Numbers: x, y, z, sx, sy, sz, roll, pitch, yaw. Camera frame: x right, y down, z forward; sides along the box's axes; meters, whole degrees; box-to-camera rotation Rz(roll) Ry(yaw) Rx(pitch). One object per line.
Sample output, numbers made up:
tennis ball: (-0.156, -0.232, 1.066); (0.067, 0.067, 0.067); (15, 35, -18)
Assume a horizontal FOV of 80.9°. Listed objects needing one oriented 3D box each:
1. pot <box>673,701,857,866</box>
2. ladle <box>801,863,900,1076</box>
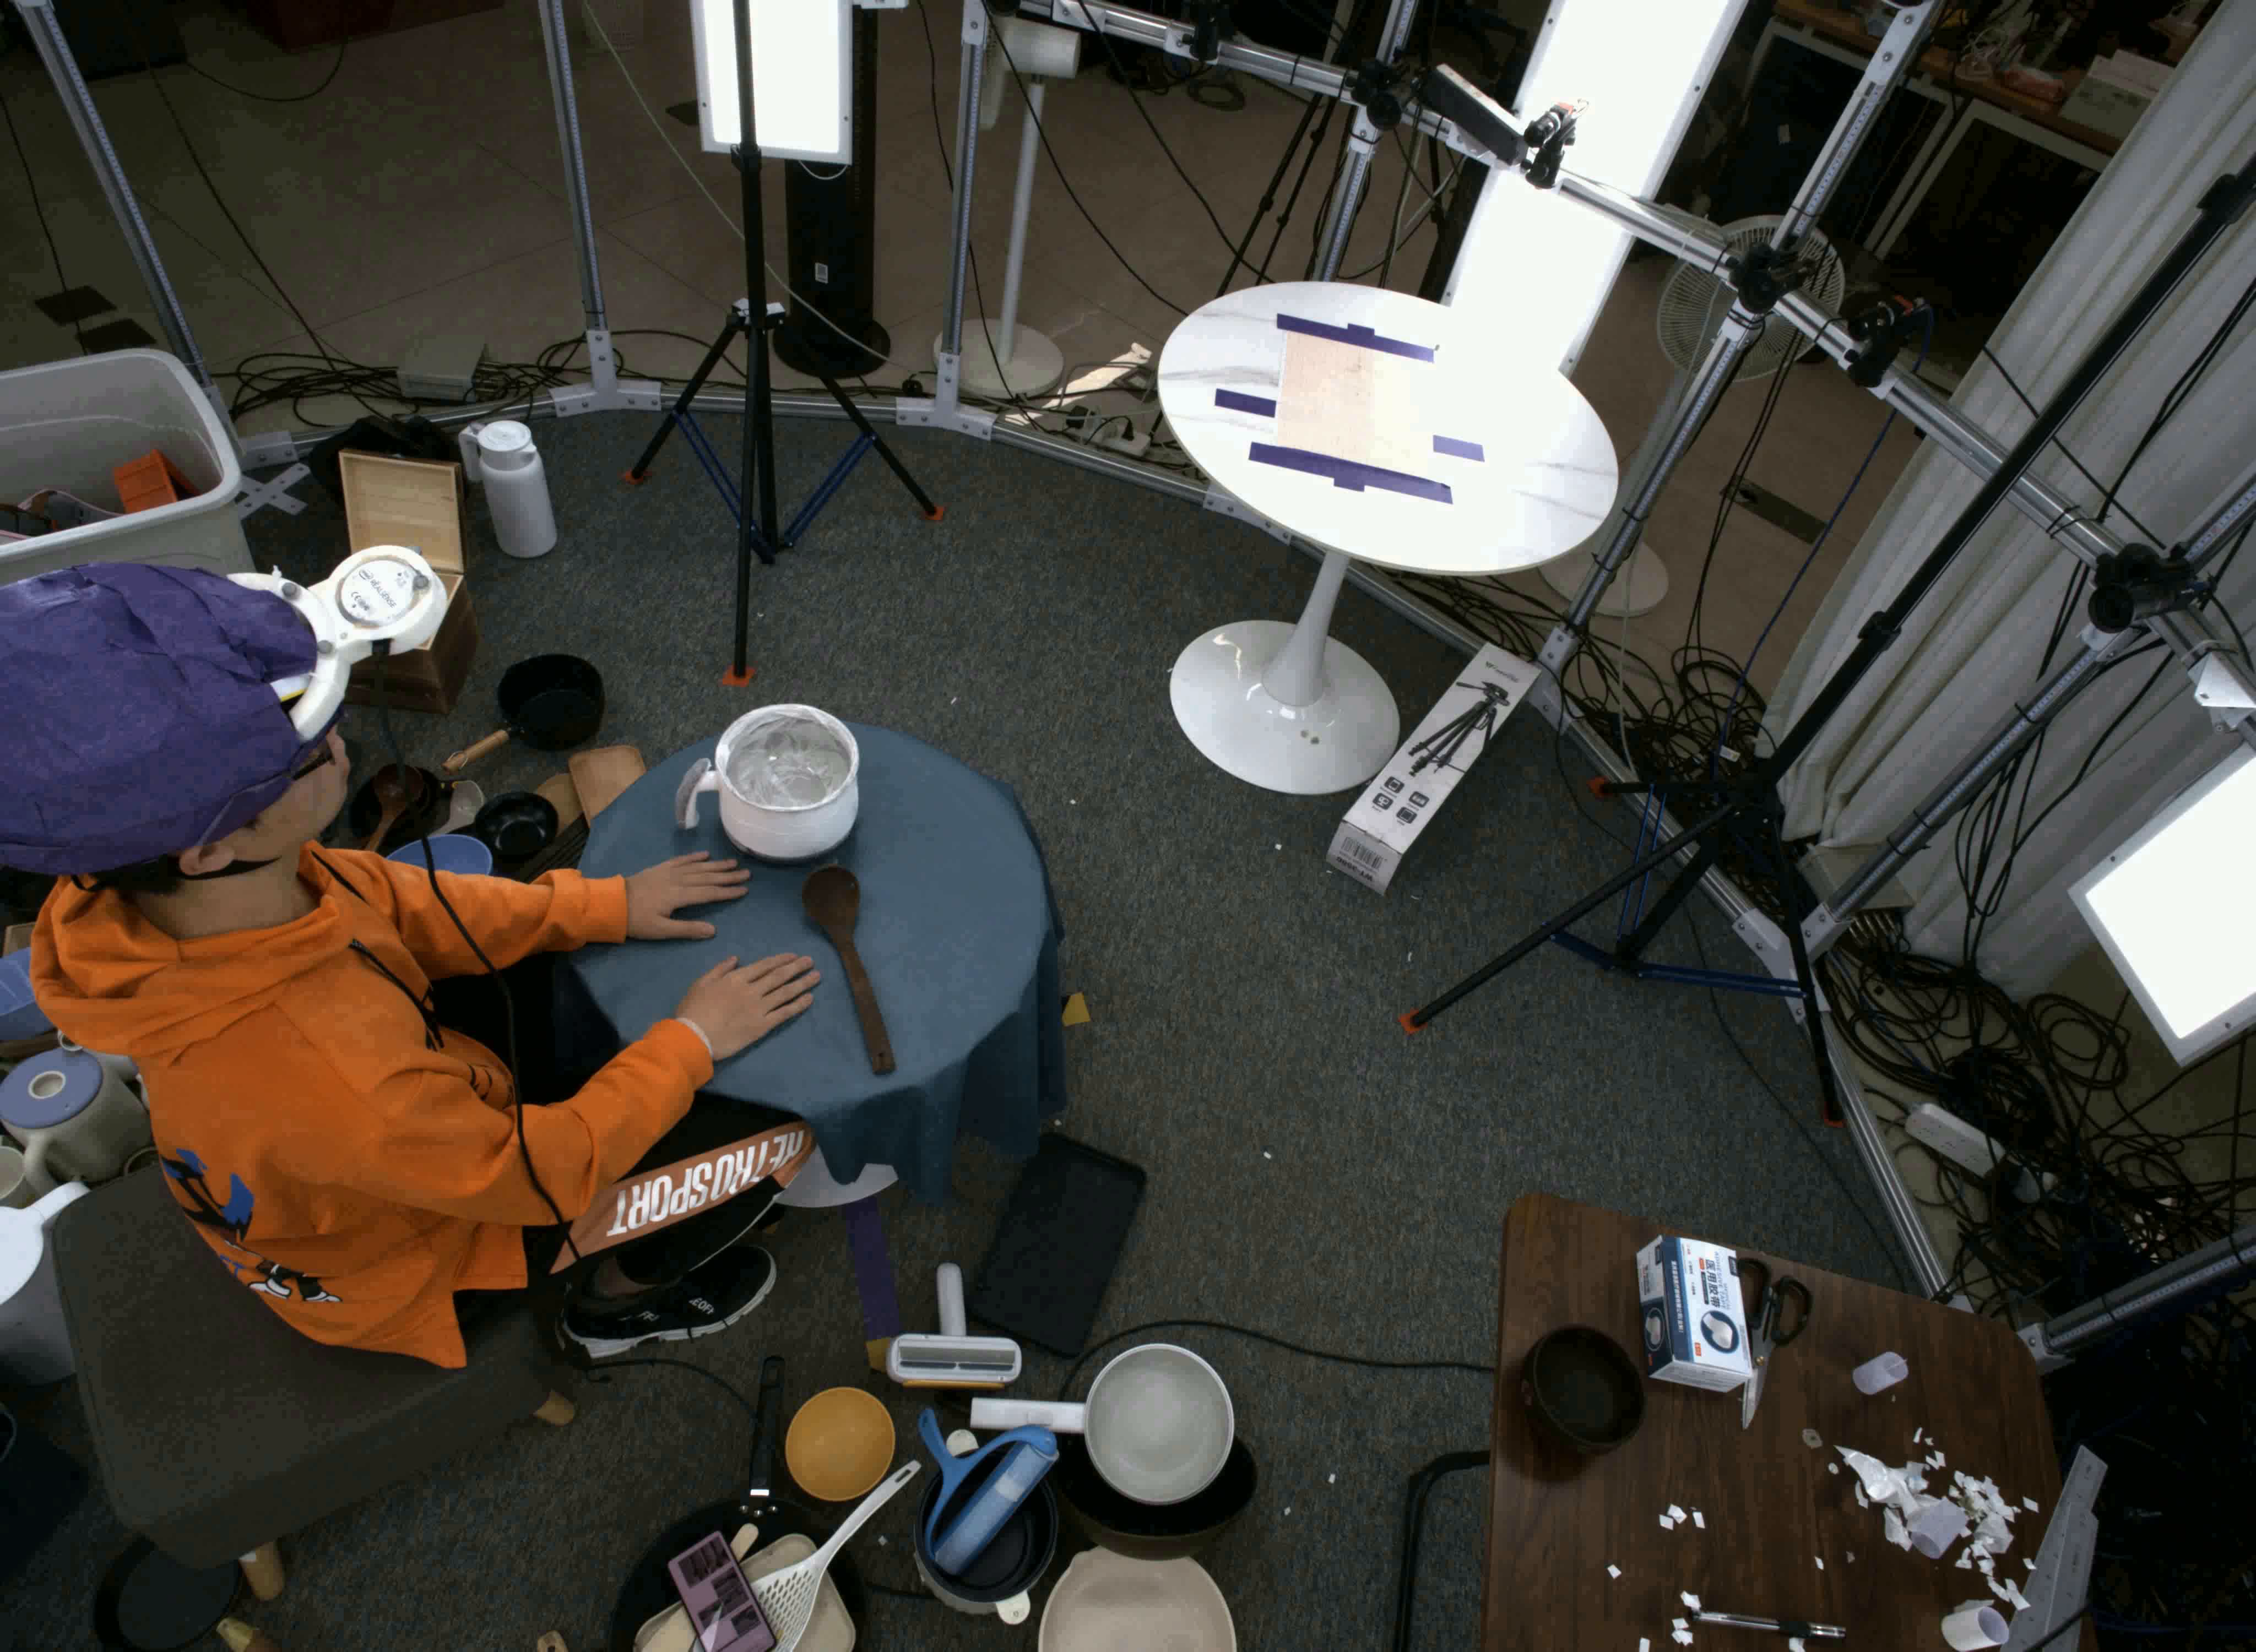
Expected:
pot: (-0.463, -0.048, 1.650); (0.235, 0.139, 0.174); (-8, 55, -20)
ladle: (-0.329, 0.165, 1.570); (0.076, 0.073, 0.267); (-15, 58, -19)
